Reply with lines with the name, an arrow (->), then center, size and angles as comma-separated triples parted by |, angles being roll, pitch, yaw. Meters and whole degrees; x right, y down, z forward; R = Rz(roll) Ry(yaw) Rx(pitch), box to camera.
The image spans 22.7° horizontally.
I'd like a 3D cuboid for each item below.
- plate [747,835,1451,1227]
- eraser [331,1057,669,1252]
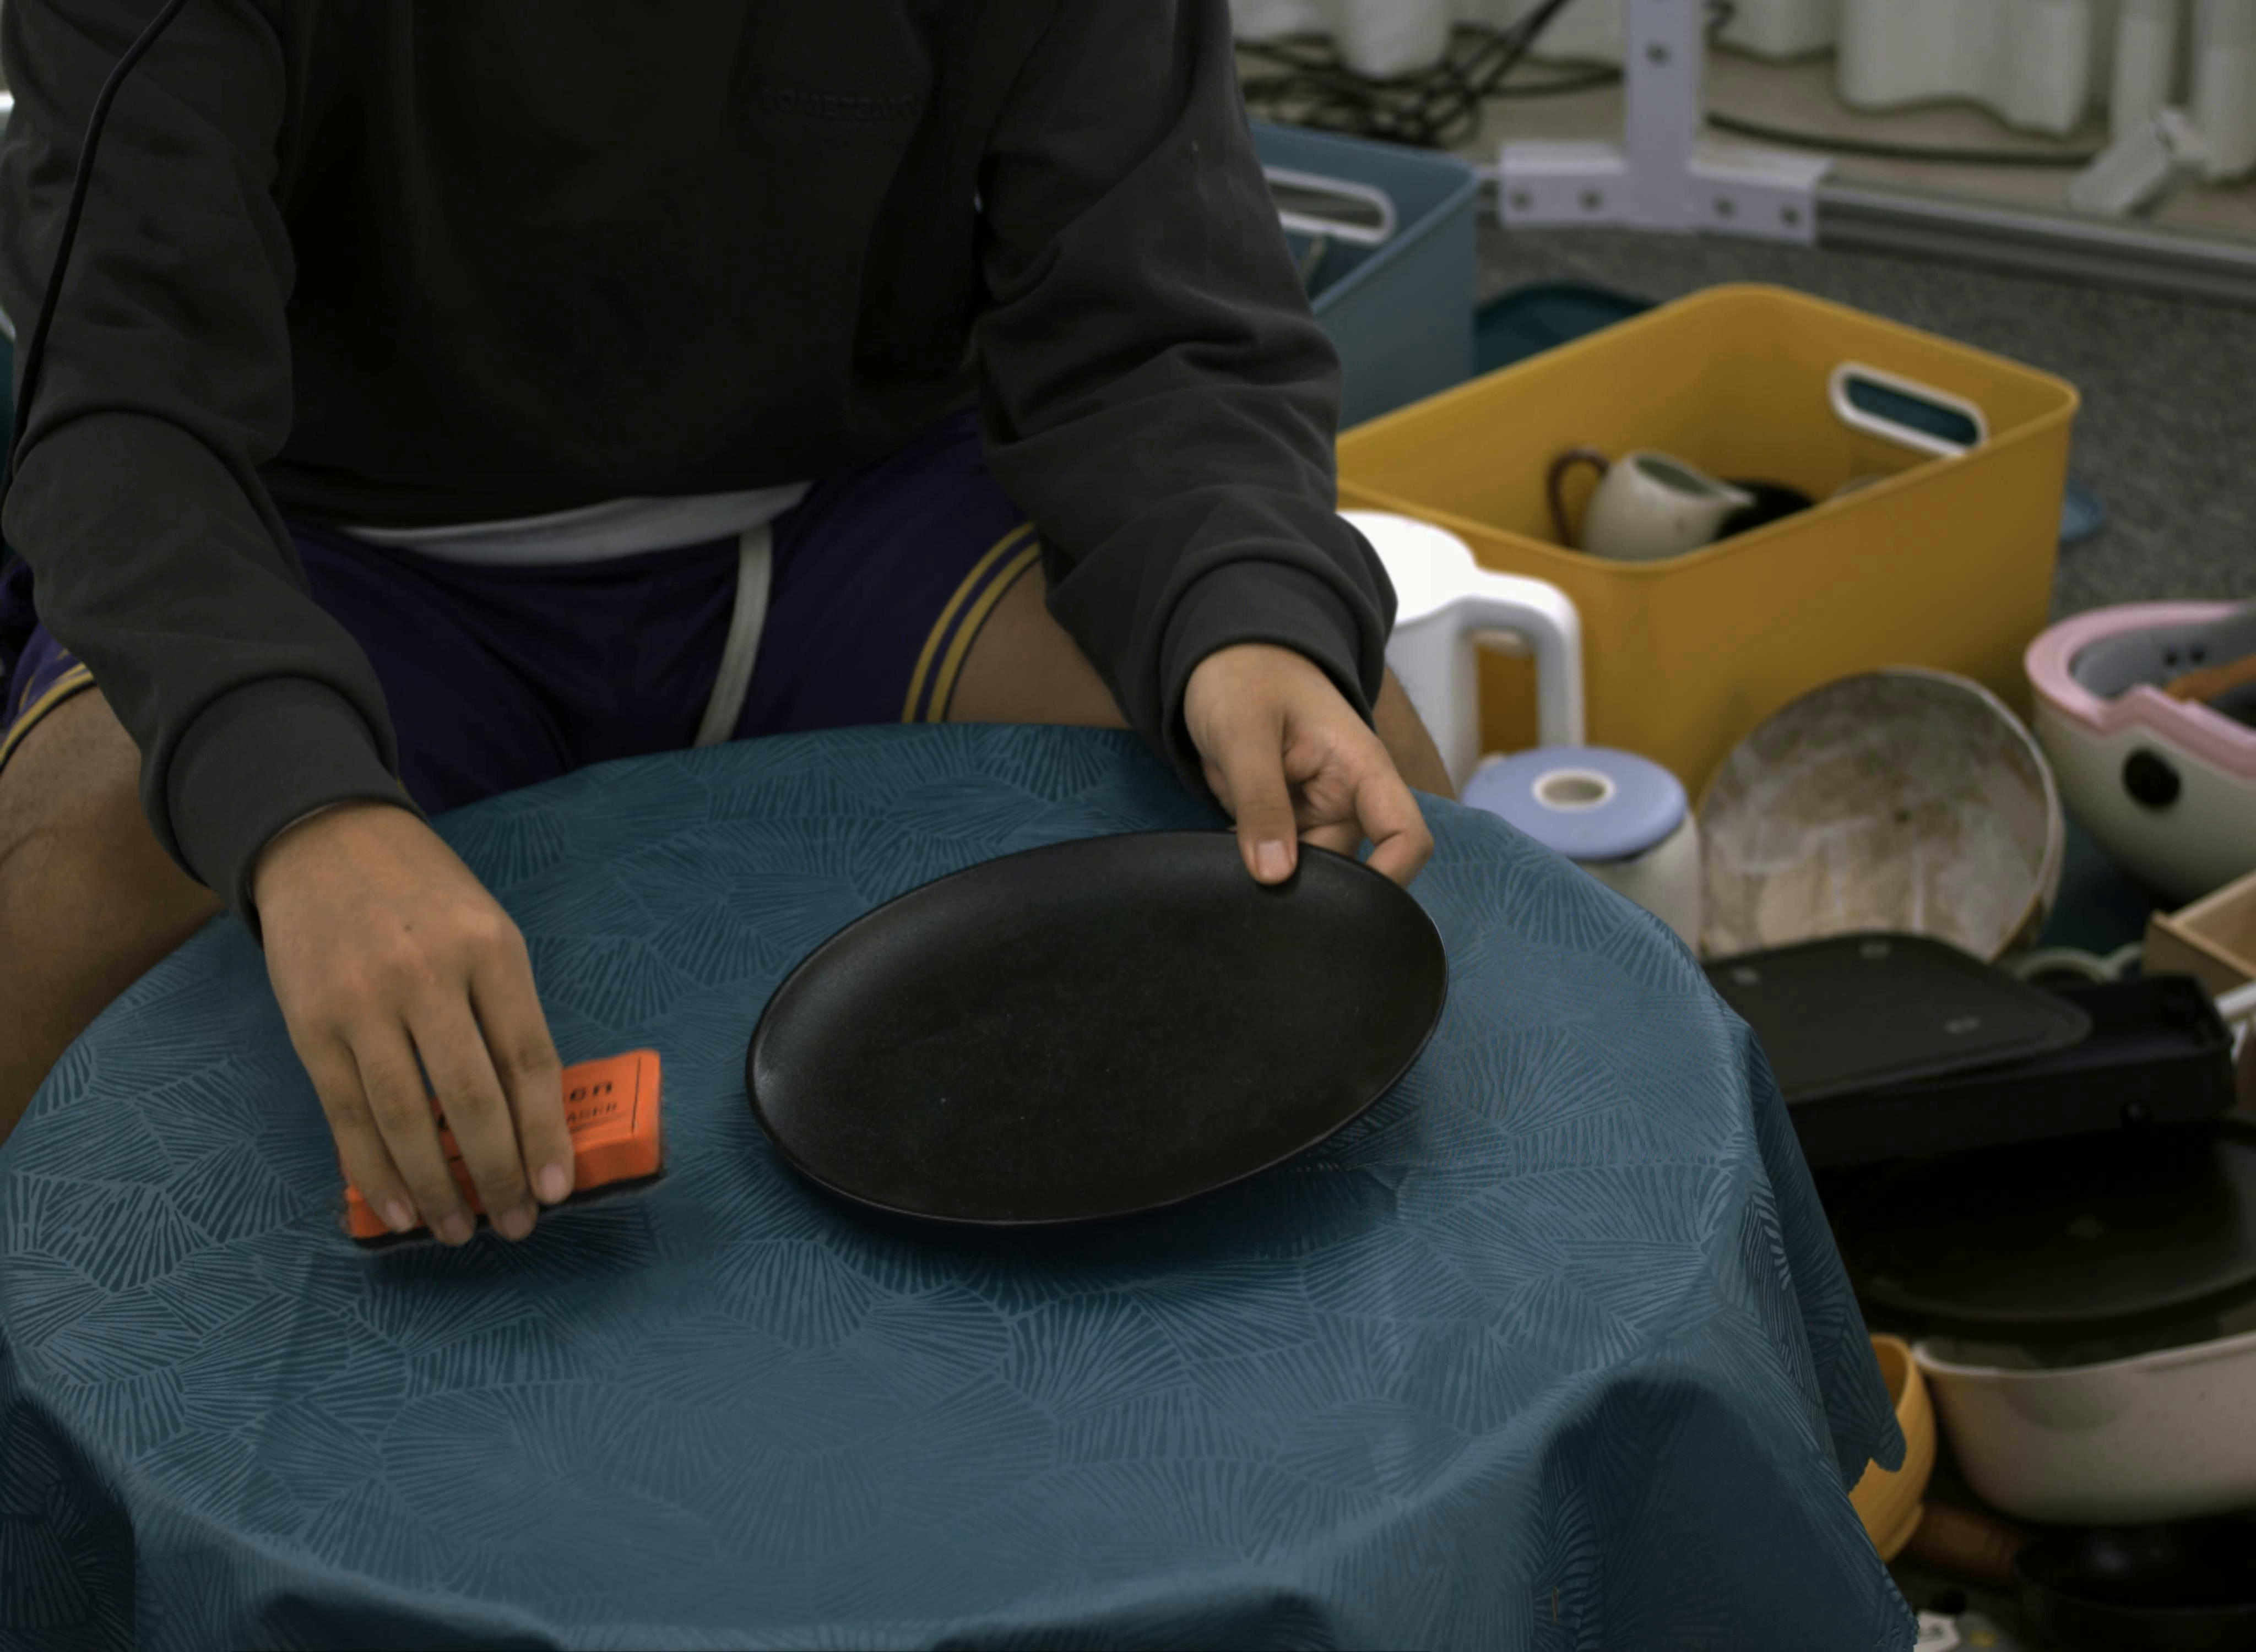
plate -> -0.009, 0.074, 1.911 | 0.243, 0.023, 0.248 | -7, 29, 4
eraser -> -0.205, 0.108, 1.840 | 0.107, 0.022, 0.060 | -11, 28, 3
